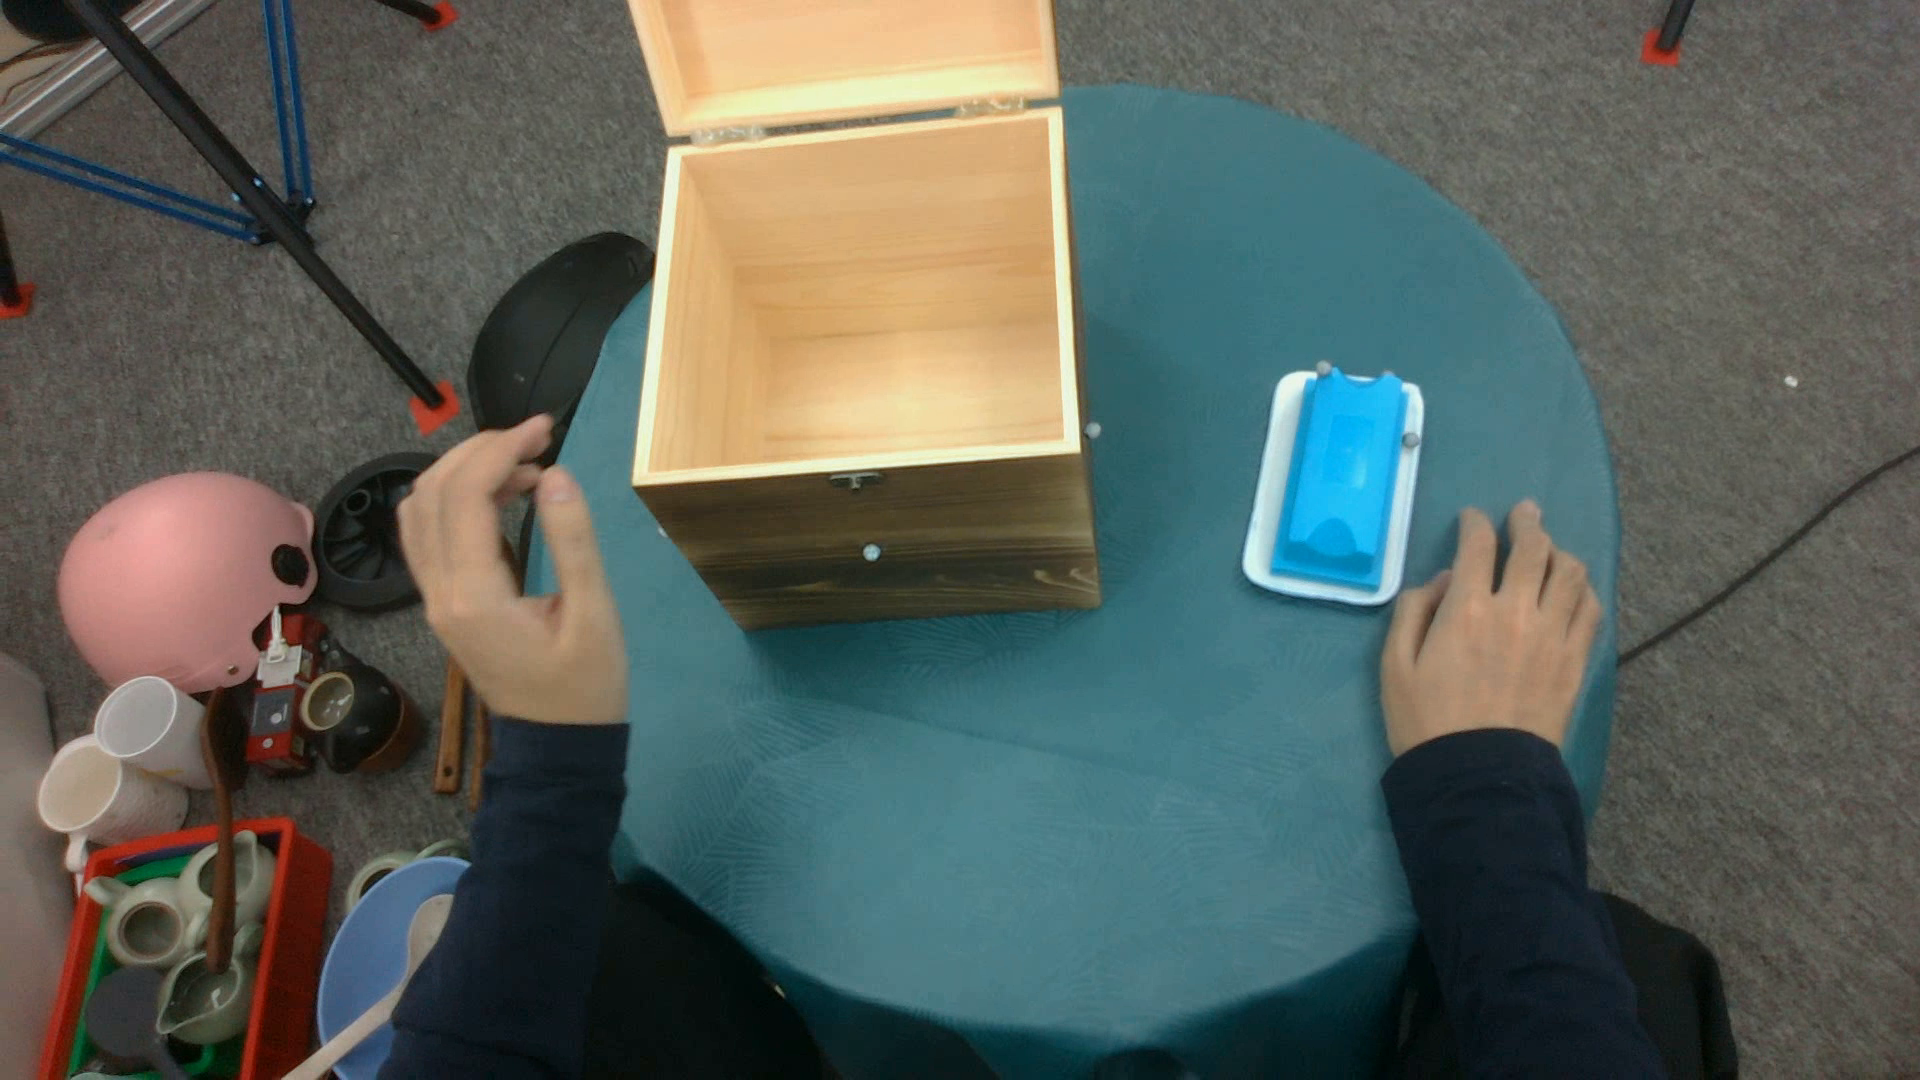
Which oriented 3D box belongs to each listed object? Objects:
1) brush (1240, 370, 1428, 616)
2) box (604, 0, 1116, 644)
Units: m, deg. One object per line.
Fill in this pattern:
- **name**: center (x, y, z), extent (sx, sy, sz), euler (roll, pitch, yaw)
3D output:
- **brush**: center (0.200, -0.032, 0.731), extent (0.084, 0.056, 0.144), euler (9, 63, 18)
- **box**: center (-0.054, -0.163, 0.673), extent (0.208, 0.374, 0.323), euler (-6, 63, 8)
